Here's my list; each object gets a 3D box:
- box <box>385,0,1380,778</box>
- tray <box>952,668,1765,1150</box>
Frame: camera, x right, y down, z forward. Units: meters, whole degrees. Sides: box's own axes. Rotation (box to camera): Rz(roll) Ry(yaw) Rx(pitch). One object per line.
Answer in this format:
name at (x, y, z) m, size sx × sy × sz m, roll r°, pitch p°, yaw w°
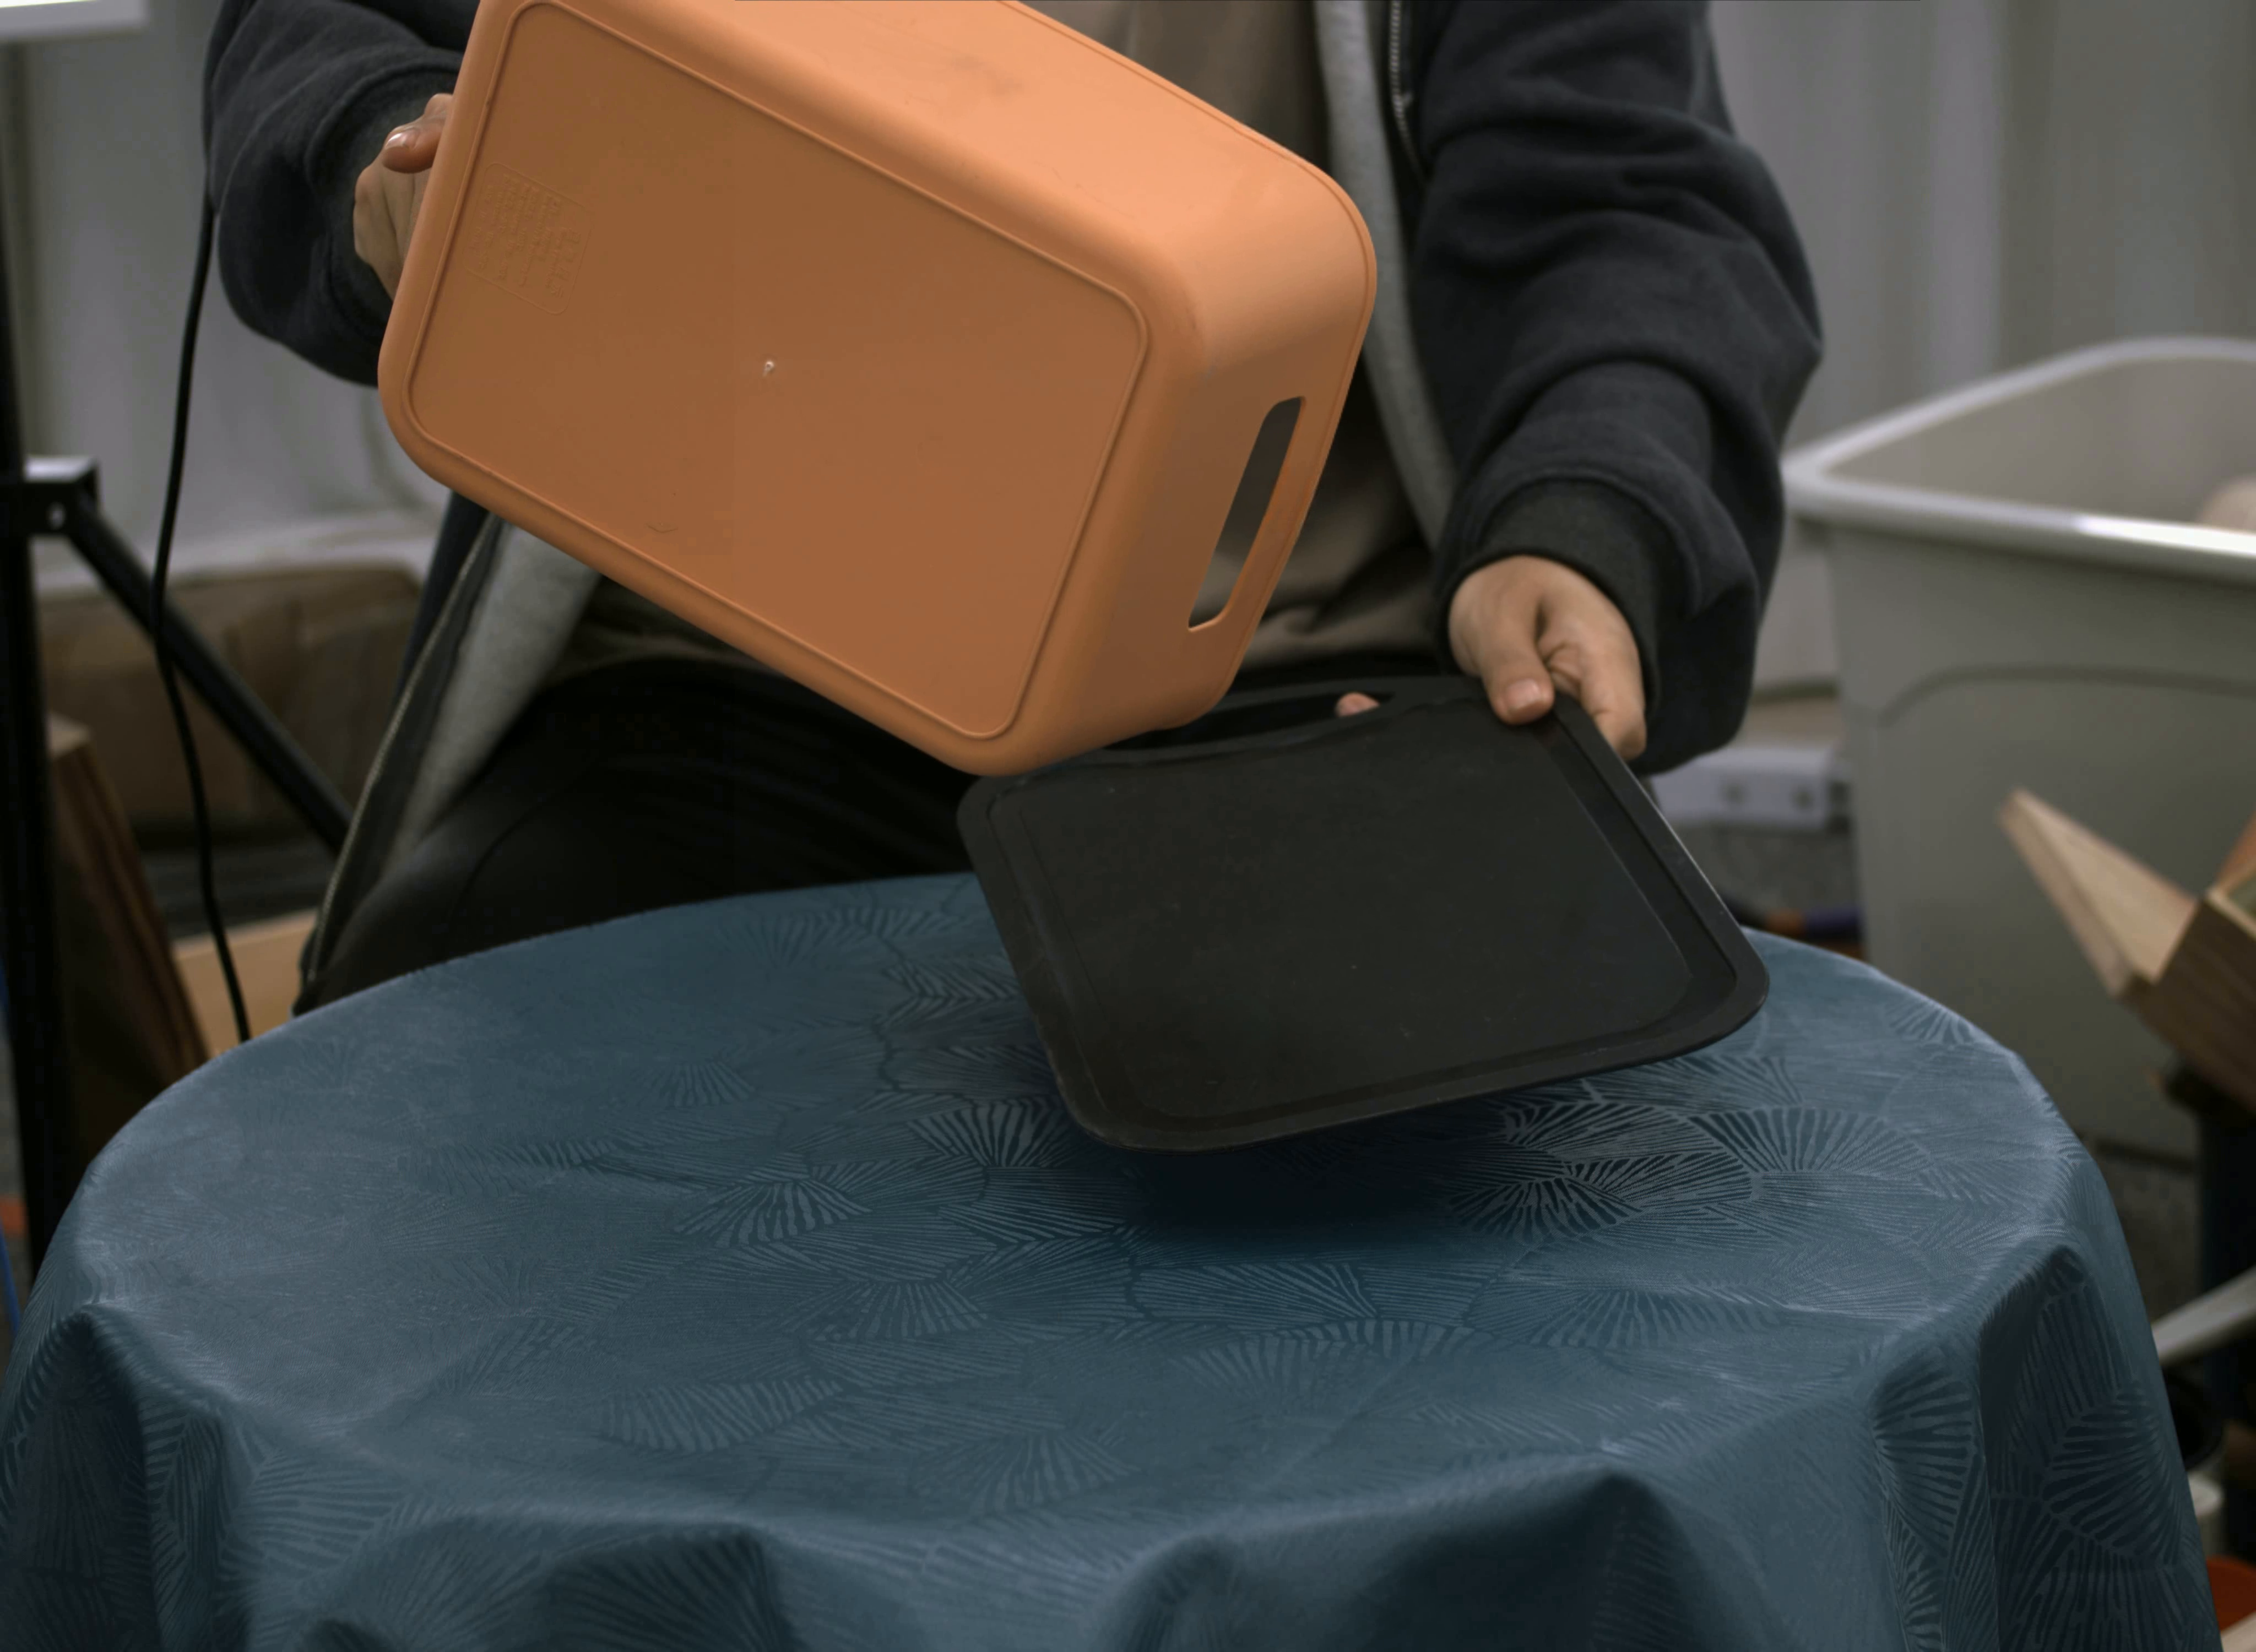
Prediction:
box at (-0.082, -0.144, 1.564) m, size 0.277 × 0.200 × 0.101 m, roll 30°, pitch 28°, yaw 19°
tray at (0.061, 0.017, 1.649) m, size 0.209 × 0.010 × 0.329 m, roll -12°, pitch 24°, yaw -6°
